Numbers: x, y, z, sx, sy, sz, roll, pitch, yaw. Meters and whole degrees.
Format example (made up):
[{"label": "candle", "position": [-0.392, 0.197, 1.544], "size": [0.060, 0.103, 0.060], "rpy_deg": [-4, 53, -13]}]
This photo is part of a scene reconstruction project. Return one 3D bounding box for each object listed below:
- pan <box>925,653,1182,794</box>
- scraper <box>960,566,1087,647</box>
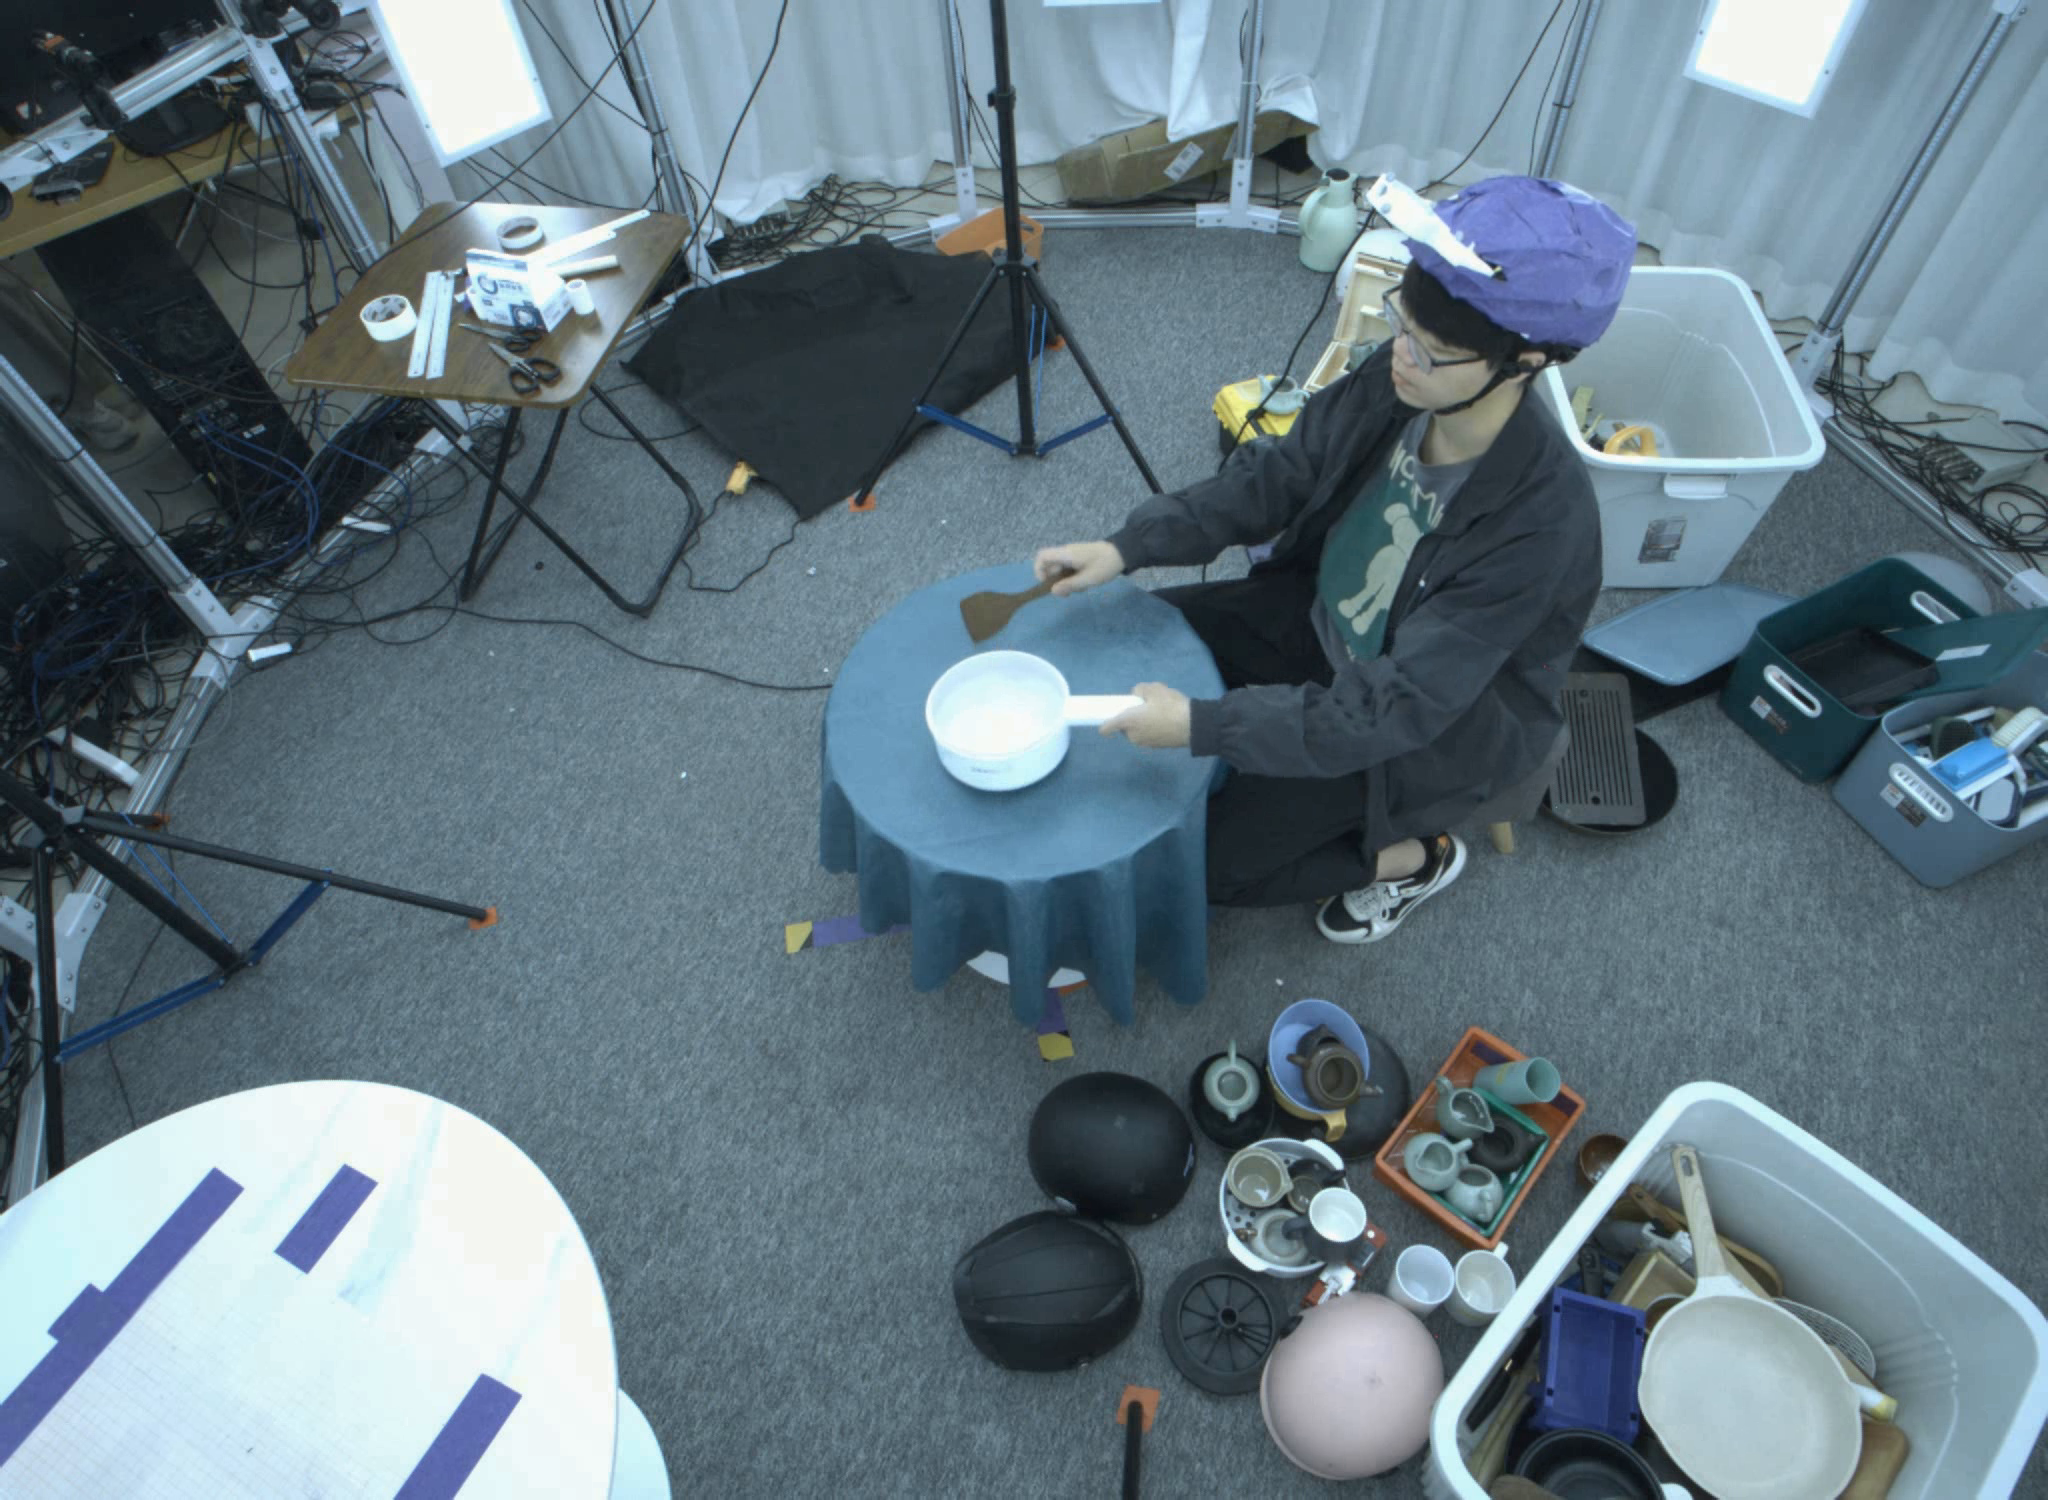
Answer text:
[{"label": "pan", "position": [0.043, -0.031, 1.729], "size": [0.353, 0.103, 0.199], "rpy_deg": [1, 51, 5]}, {"label": "scraper", "position": [0.002, -0.228, 1.859], "size": [0.213, 0.077, 0.010], "rpy_deg": [-26, 23, -16]}]
